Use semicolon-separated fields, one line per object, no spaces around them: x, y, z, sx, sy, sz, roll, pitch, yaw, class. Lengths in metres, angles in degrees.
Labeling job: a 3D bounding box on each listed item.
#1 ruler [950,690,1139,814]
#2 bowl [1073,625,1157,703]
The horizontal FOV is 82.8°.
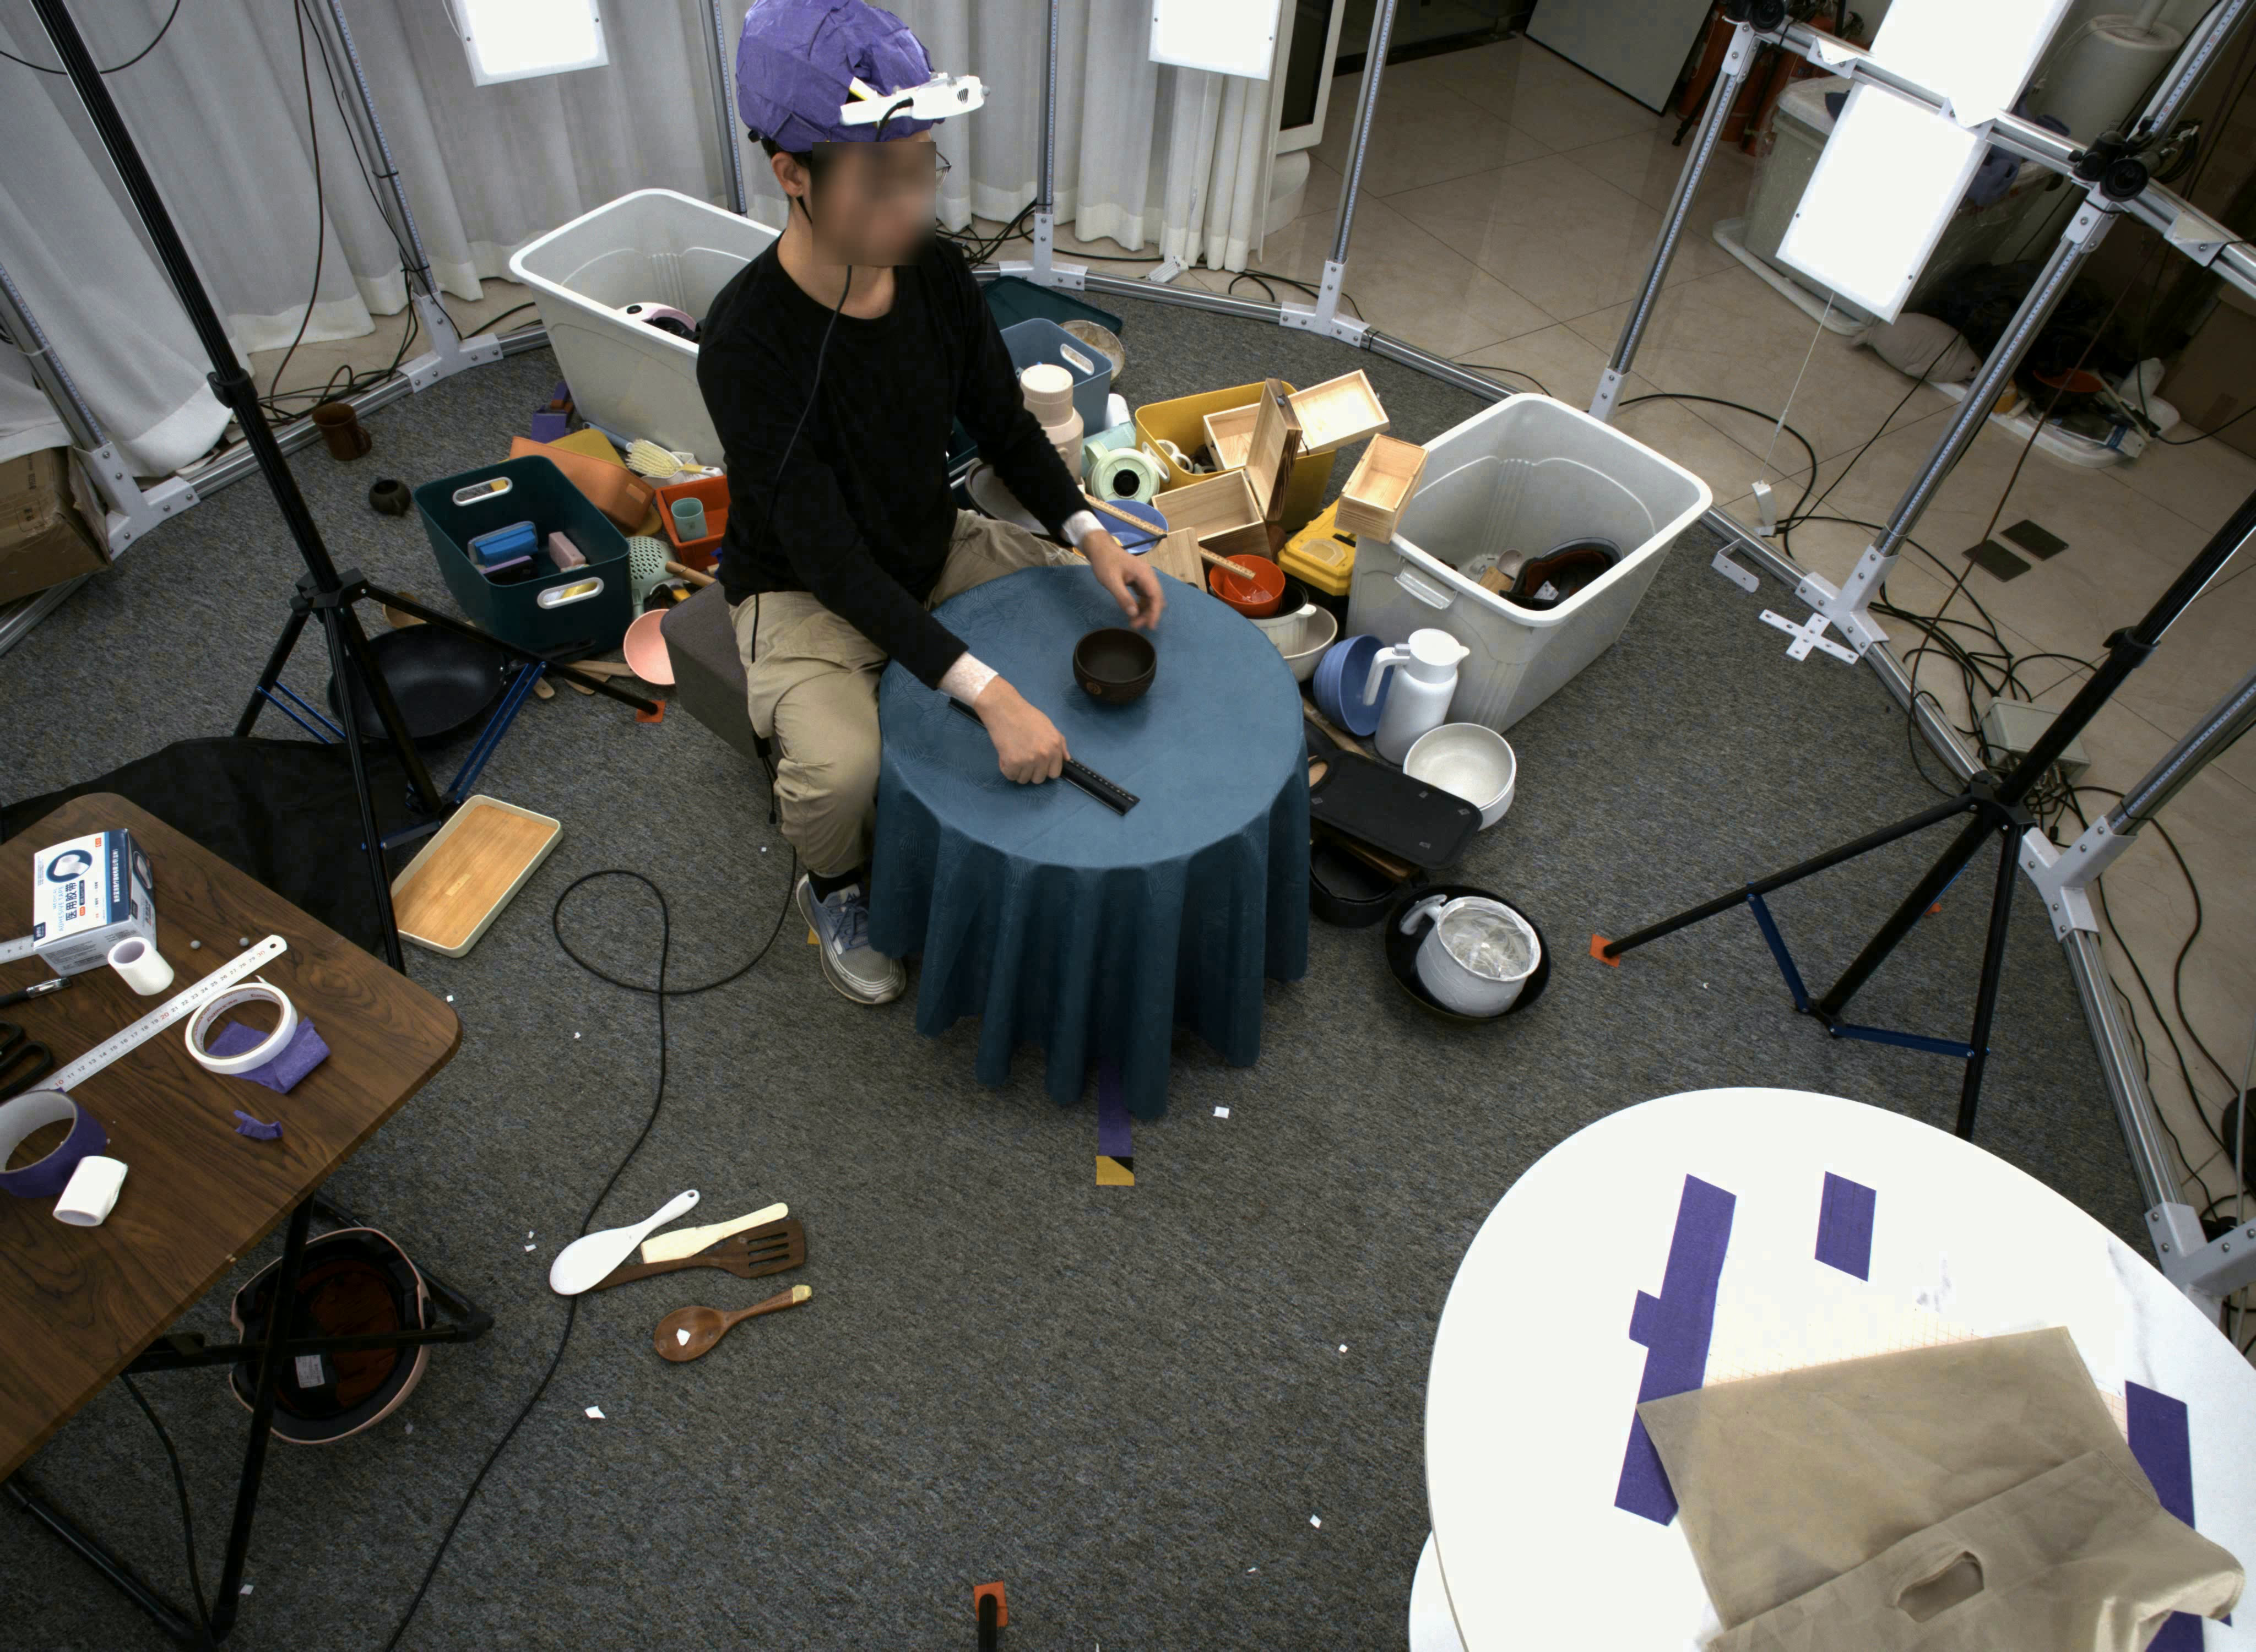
-0.116;-0.108;1.746;0.316;0.017;0.040;33;51;23;ruler
-0.019;-0.220;1.812;0.118;0.068;0.121;3;49;-3;bowl
